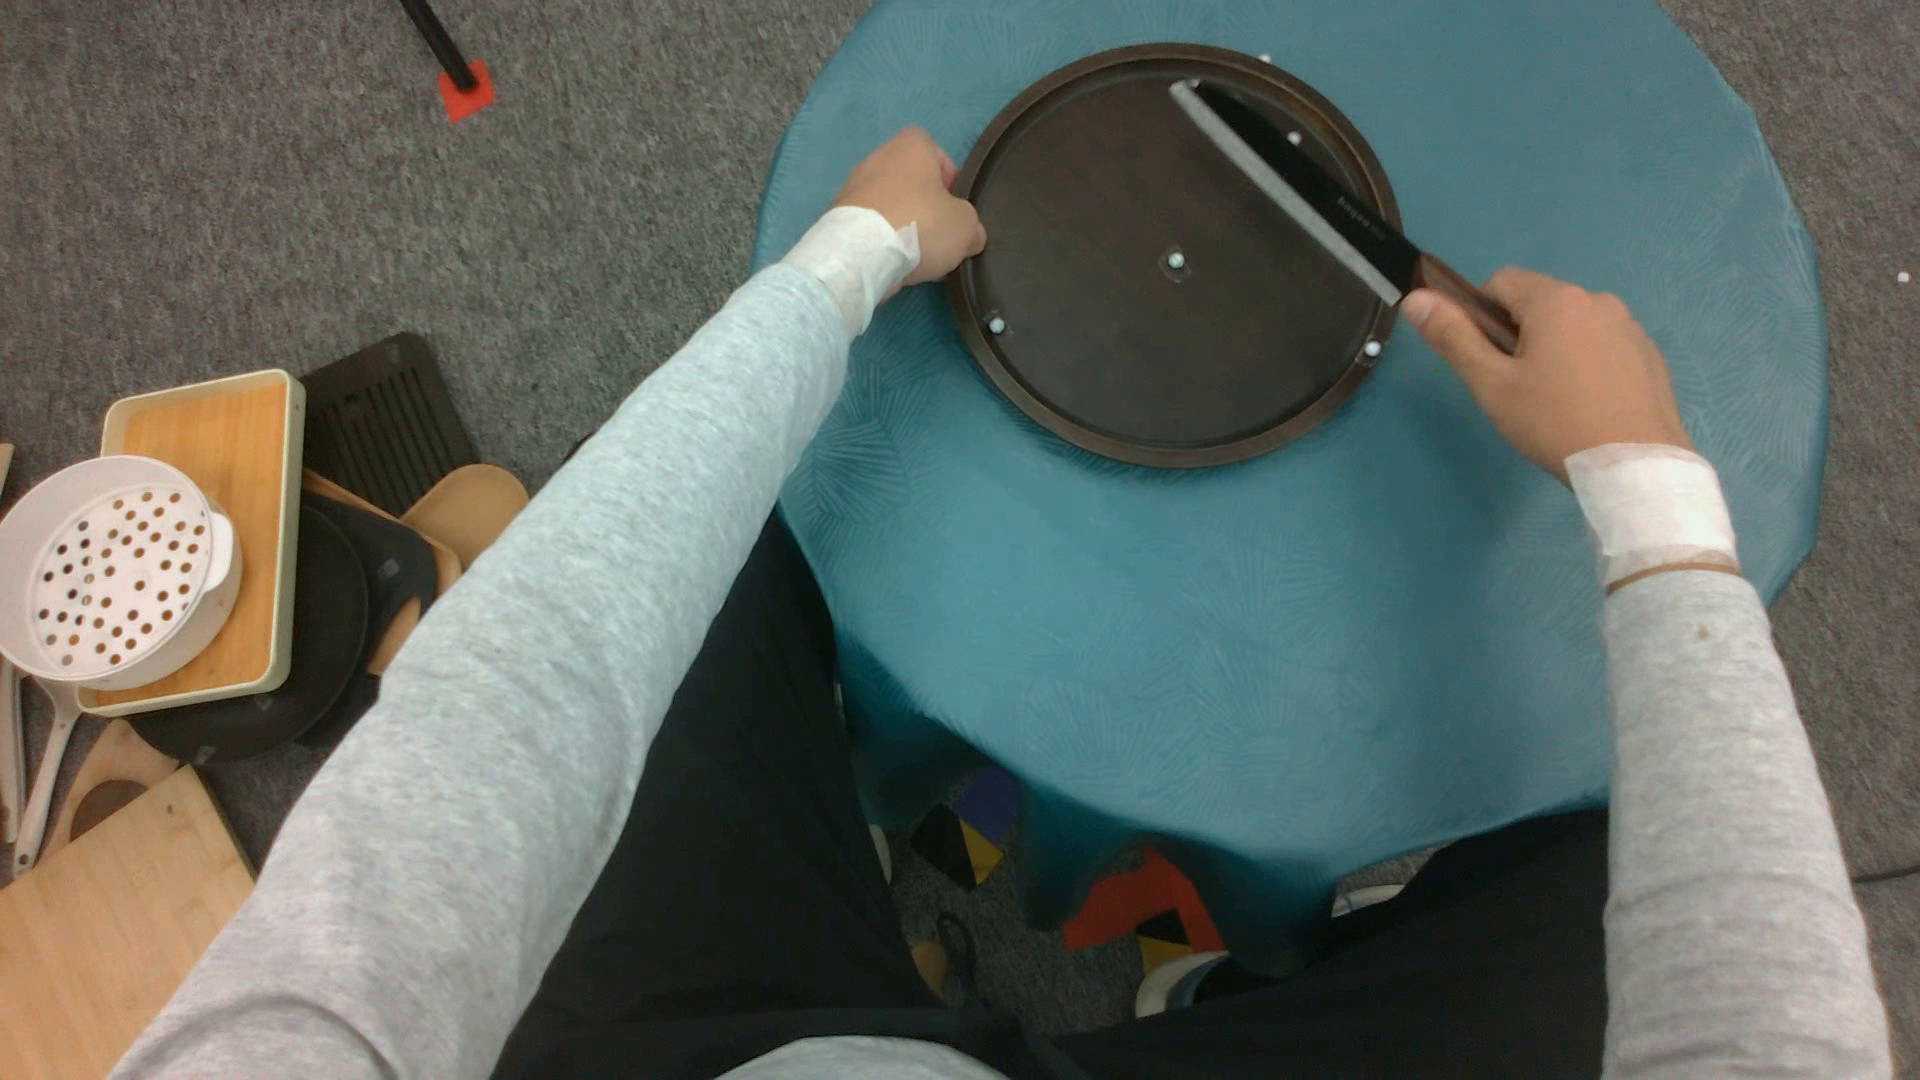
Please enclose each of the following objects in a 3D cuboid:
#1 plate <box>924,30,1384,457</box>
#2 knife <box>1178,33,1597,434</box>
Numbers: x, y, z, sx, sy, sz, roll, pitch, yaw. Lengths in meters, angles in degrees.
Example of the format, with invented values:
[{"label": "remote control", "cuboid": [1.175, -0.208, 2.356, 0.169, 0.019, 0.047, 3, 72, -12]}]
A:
[{"label": "plate", "cuboid": [0.106, -0.166, 0.762, 0.255, 0.029, 0.255, 0, 77, -2]}, {"label": "knife", "cuboid": [0.208, -0.160, 0.693, 0.020, 0.050, 0.289, -37, 77, -16]}]
